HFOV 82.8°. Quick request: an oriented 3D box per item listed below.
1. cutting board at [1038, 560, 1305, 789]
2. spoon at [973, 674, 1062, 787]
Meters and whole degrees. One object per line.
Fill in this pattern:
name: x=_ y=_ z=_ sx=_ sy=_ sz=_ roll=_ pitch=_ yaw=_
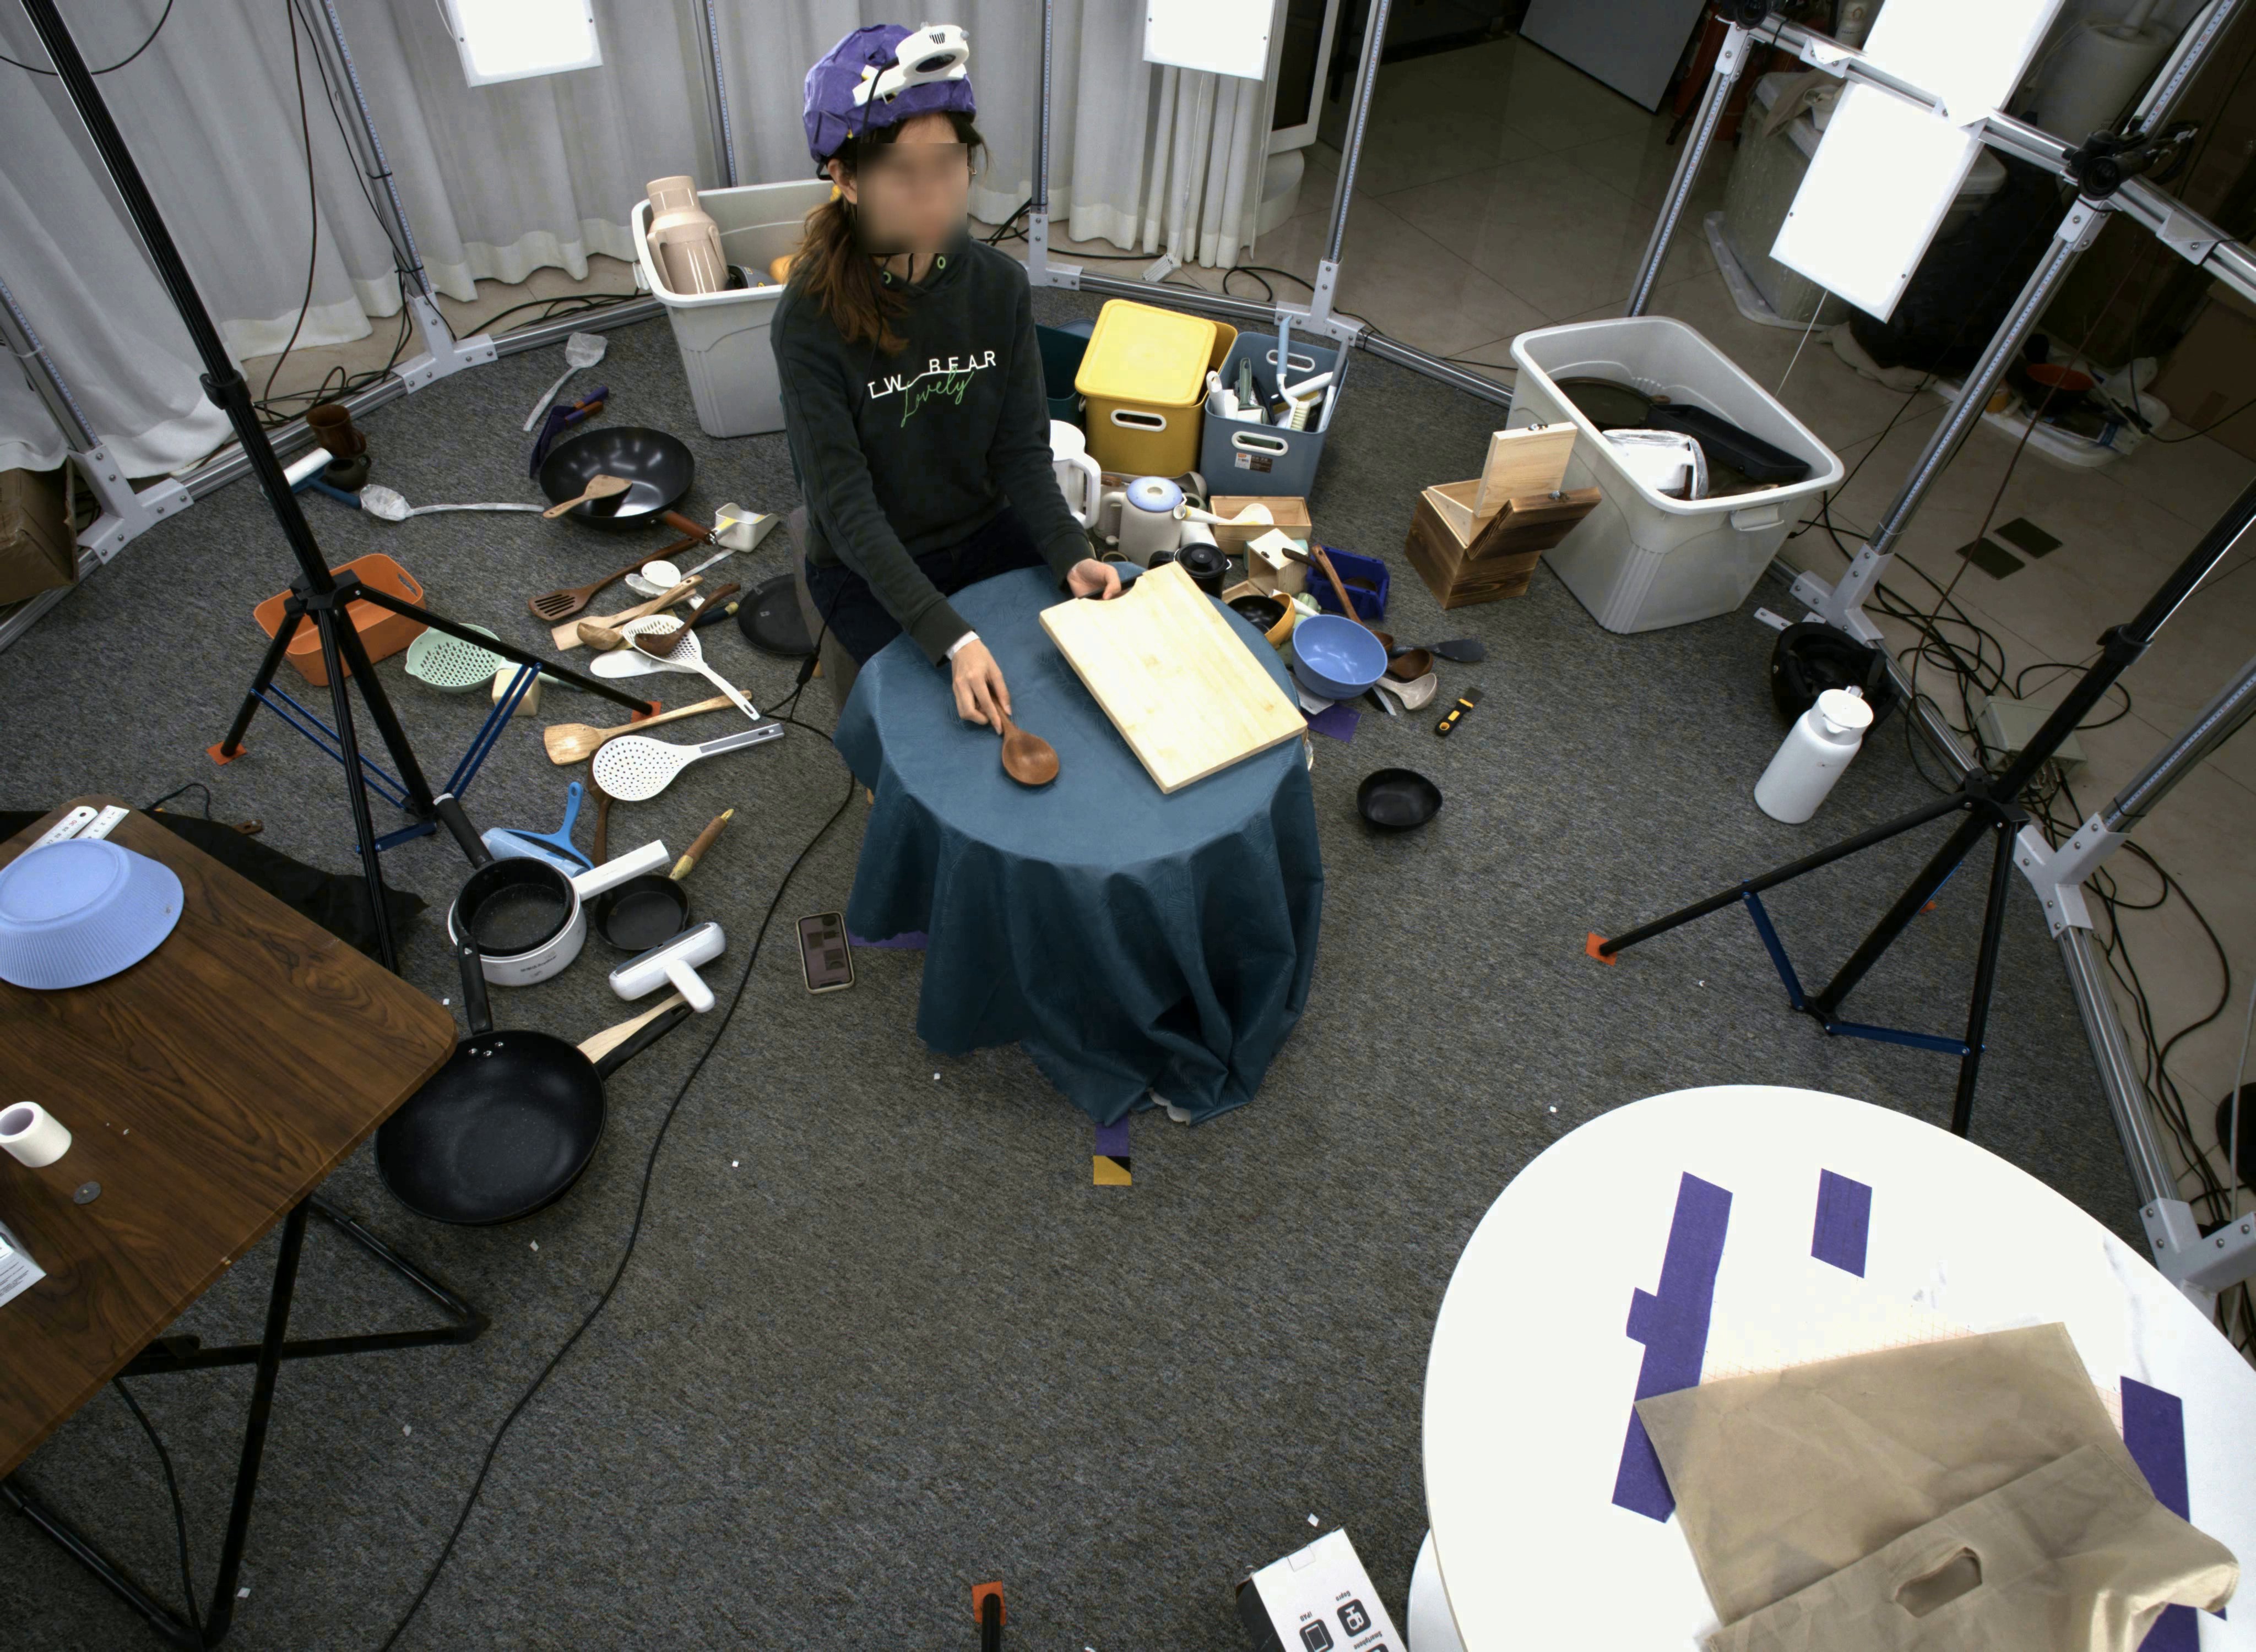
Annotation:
cutting board: x=0.059 y=-0.224 z=1.841 sx=0.252 sy=0.023 sz=0.355 roll=-24 pitch=63 yaw=-24
spoon: x=-0.160 y=-0.133 z=1.771 sx=0.075 sy=0.017 sz=0.220 roll=-22 pitch=58 yaw=-19
